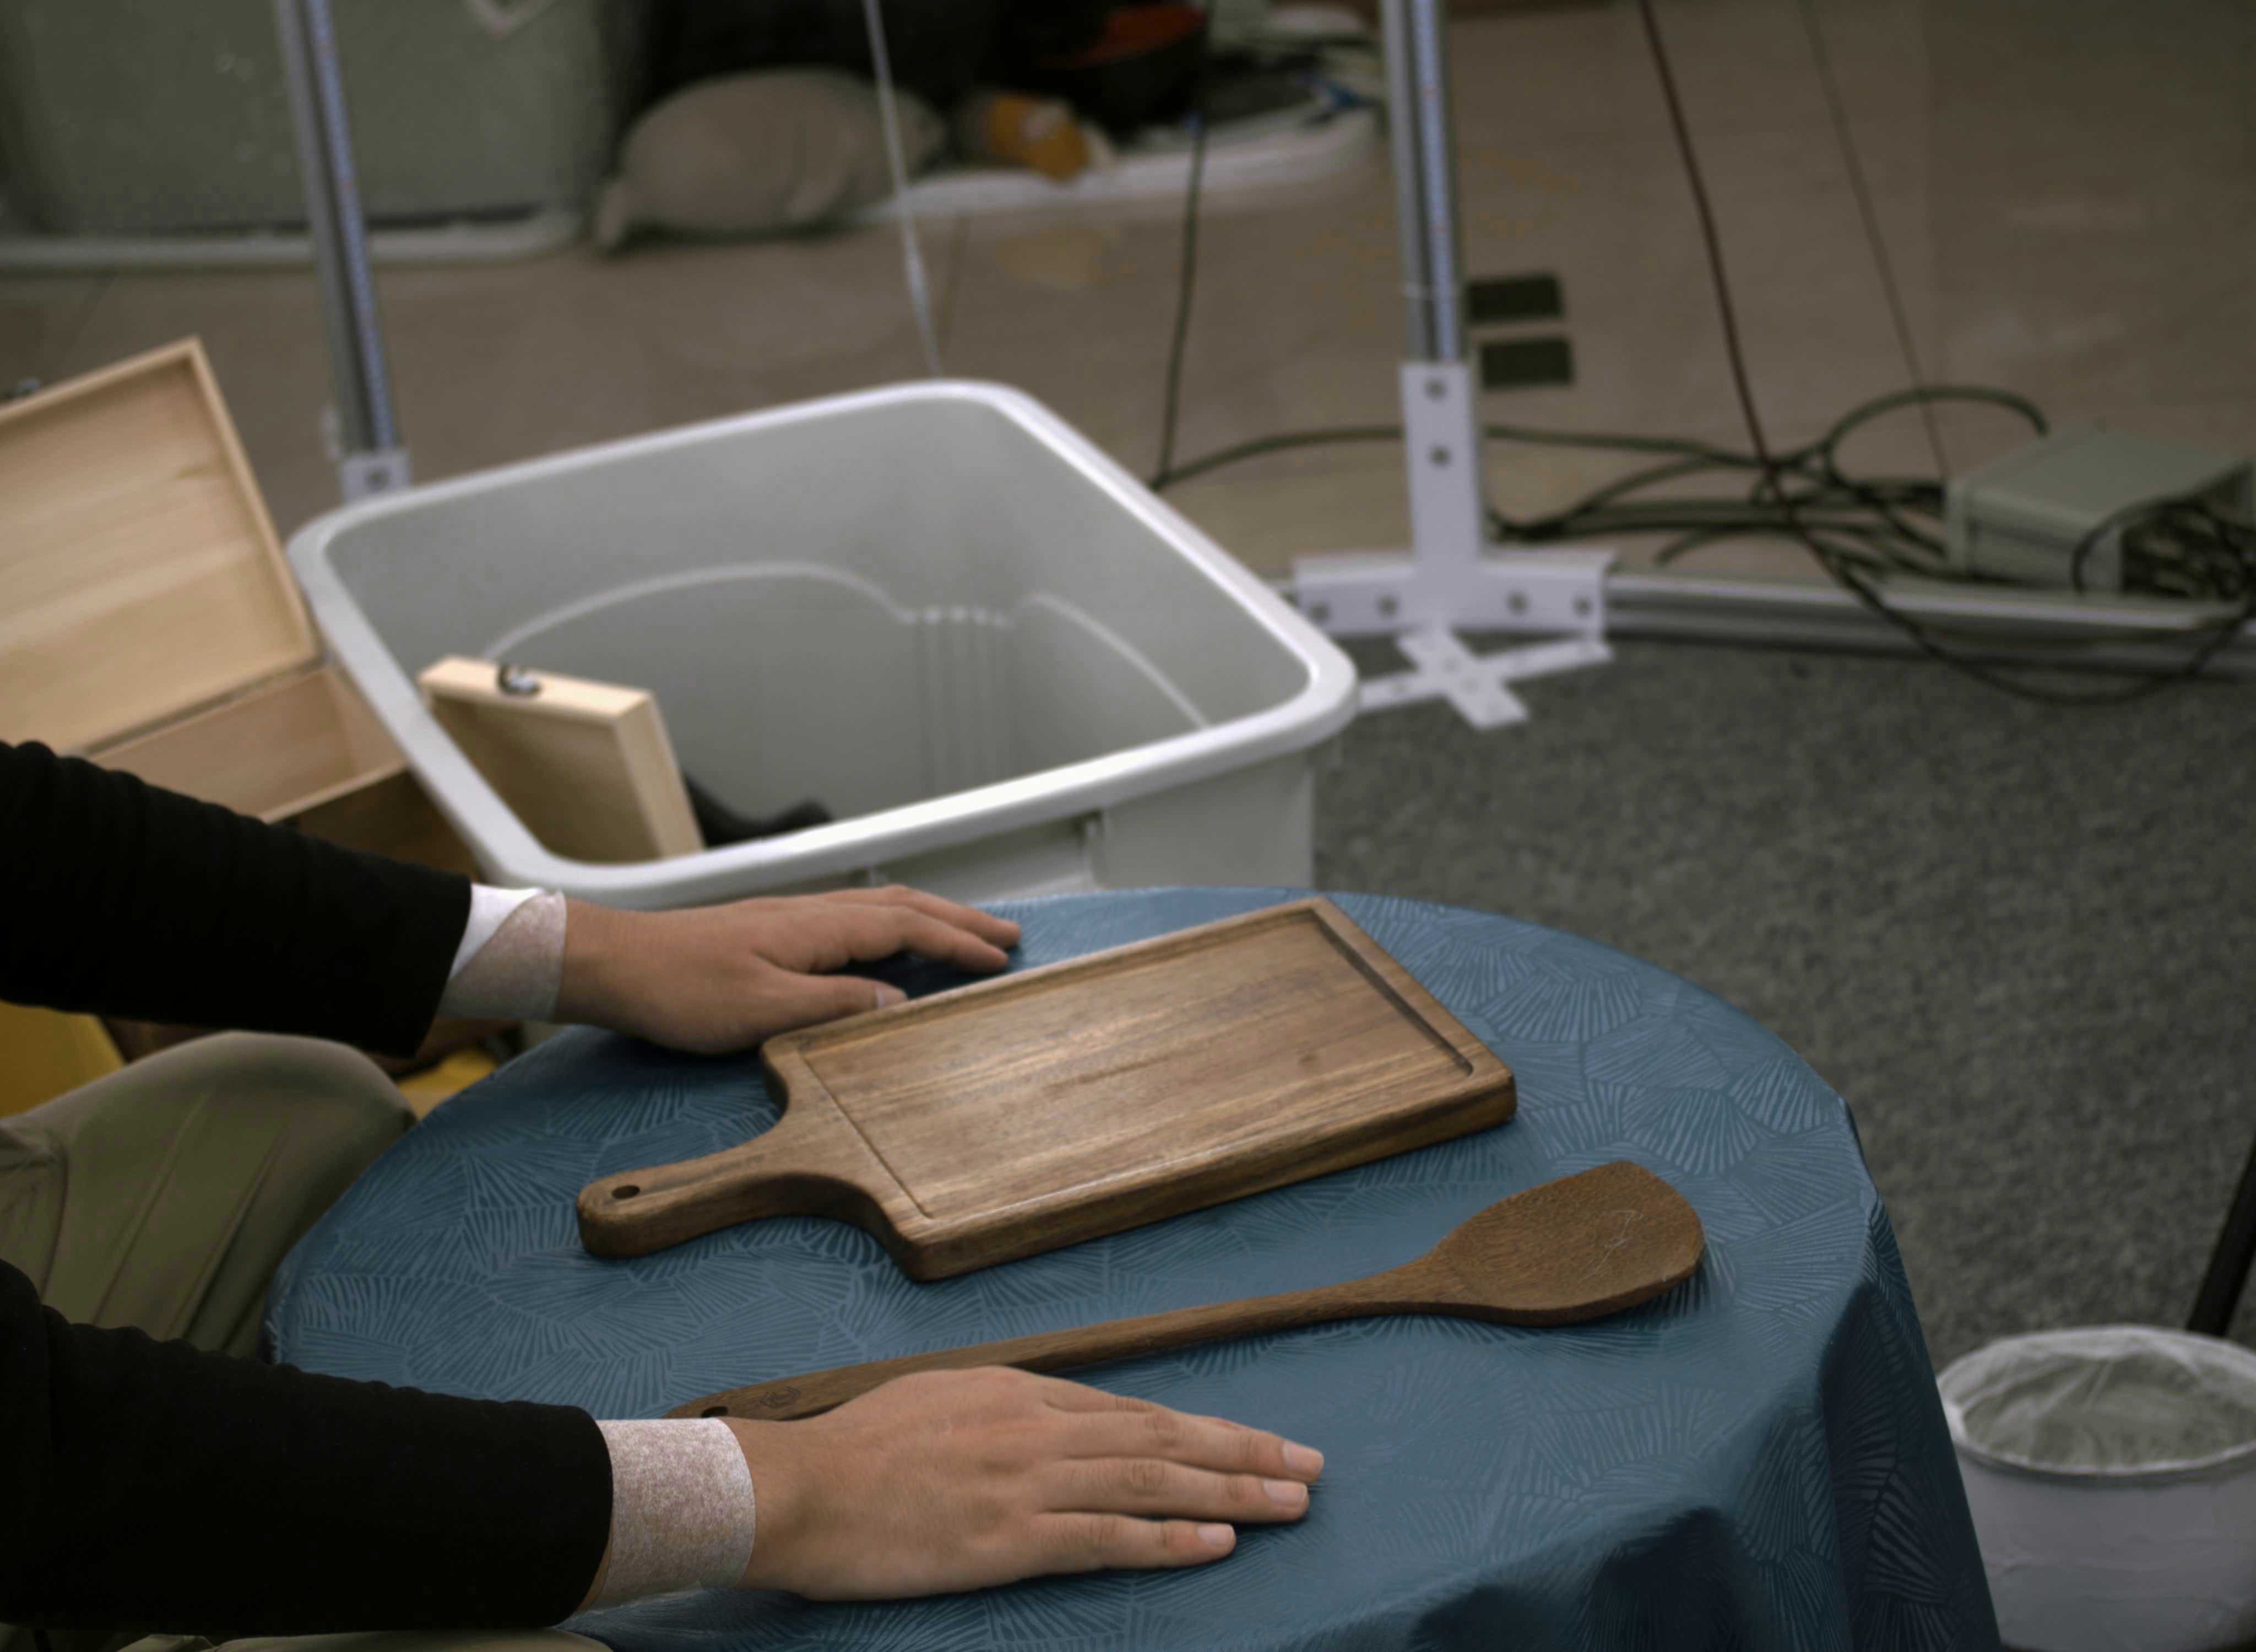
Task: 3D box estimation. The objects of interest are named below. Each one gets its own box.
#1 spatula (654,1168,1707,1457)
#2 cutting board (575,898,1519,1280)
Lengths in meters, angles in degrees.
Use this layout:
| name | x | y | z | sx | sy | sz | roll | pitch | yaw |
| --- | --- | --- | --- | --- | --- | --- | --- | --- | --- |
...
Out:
| name | x | y | z | sx | sy | sz | roll | pitch | yaw |
| --- | --- | --- | --- | --- | --- | --- | --- | --- | --- |
| spatula | 0.019 | 0.180 | 2.038 | 0.385 | 0.016 | 0.095 | -11 | 25 | -8 |
| cutting board | -0.046 | 0.110 | 2.196 | 0.351 | 0.023 | 0.198 | -15 | 26 | -17 |
